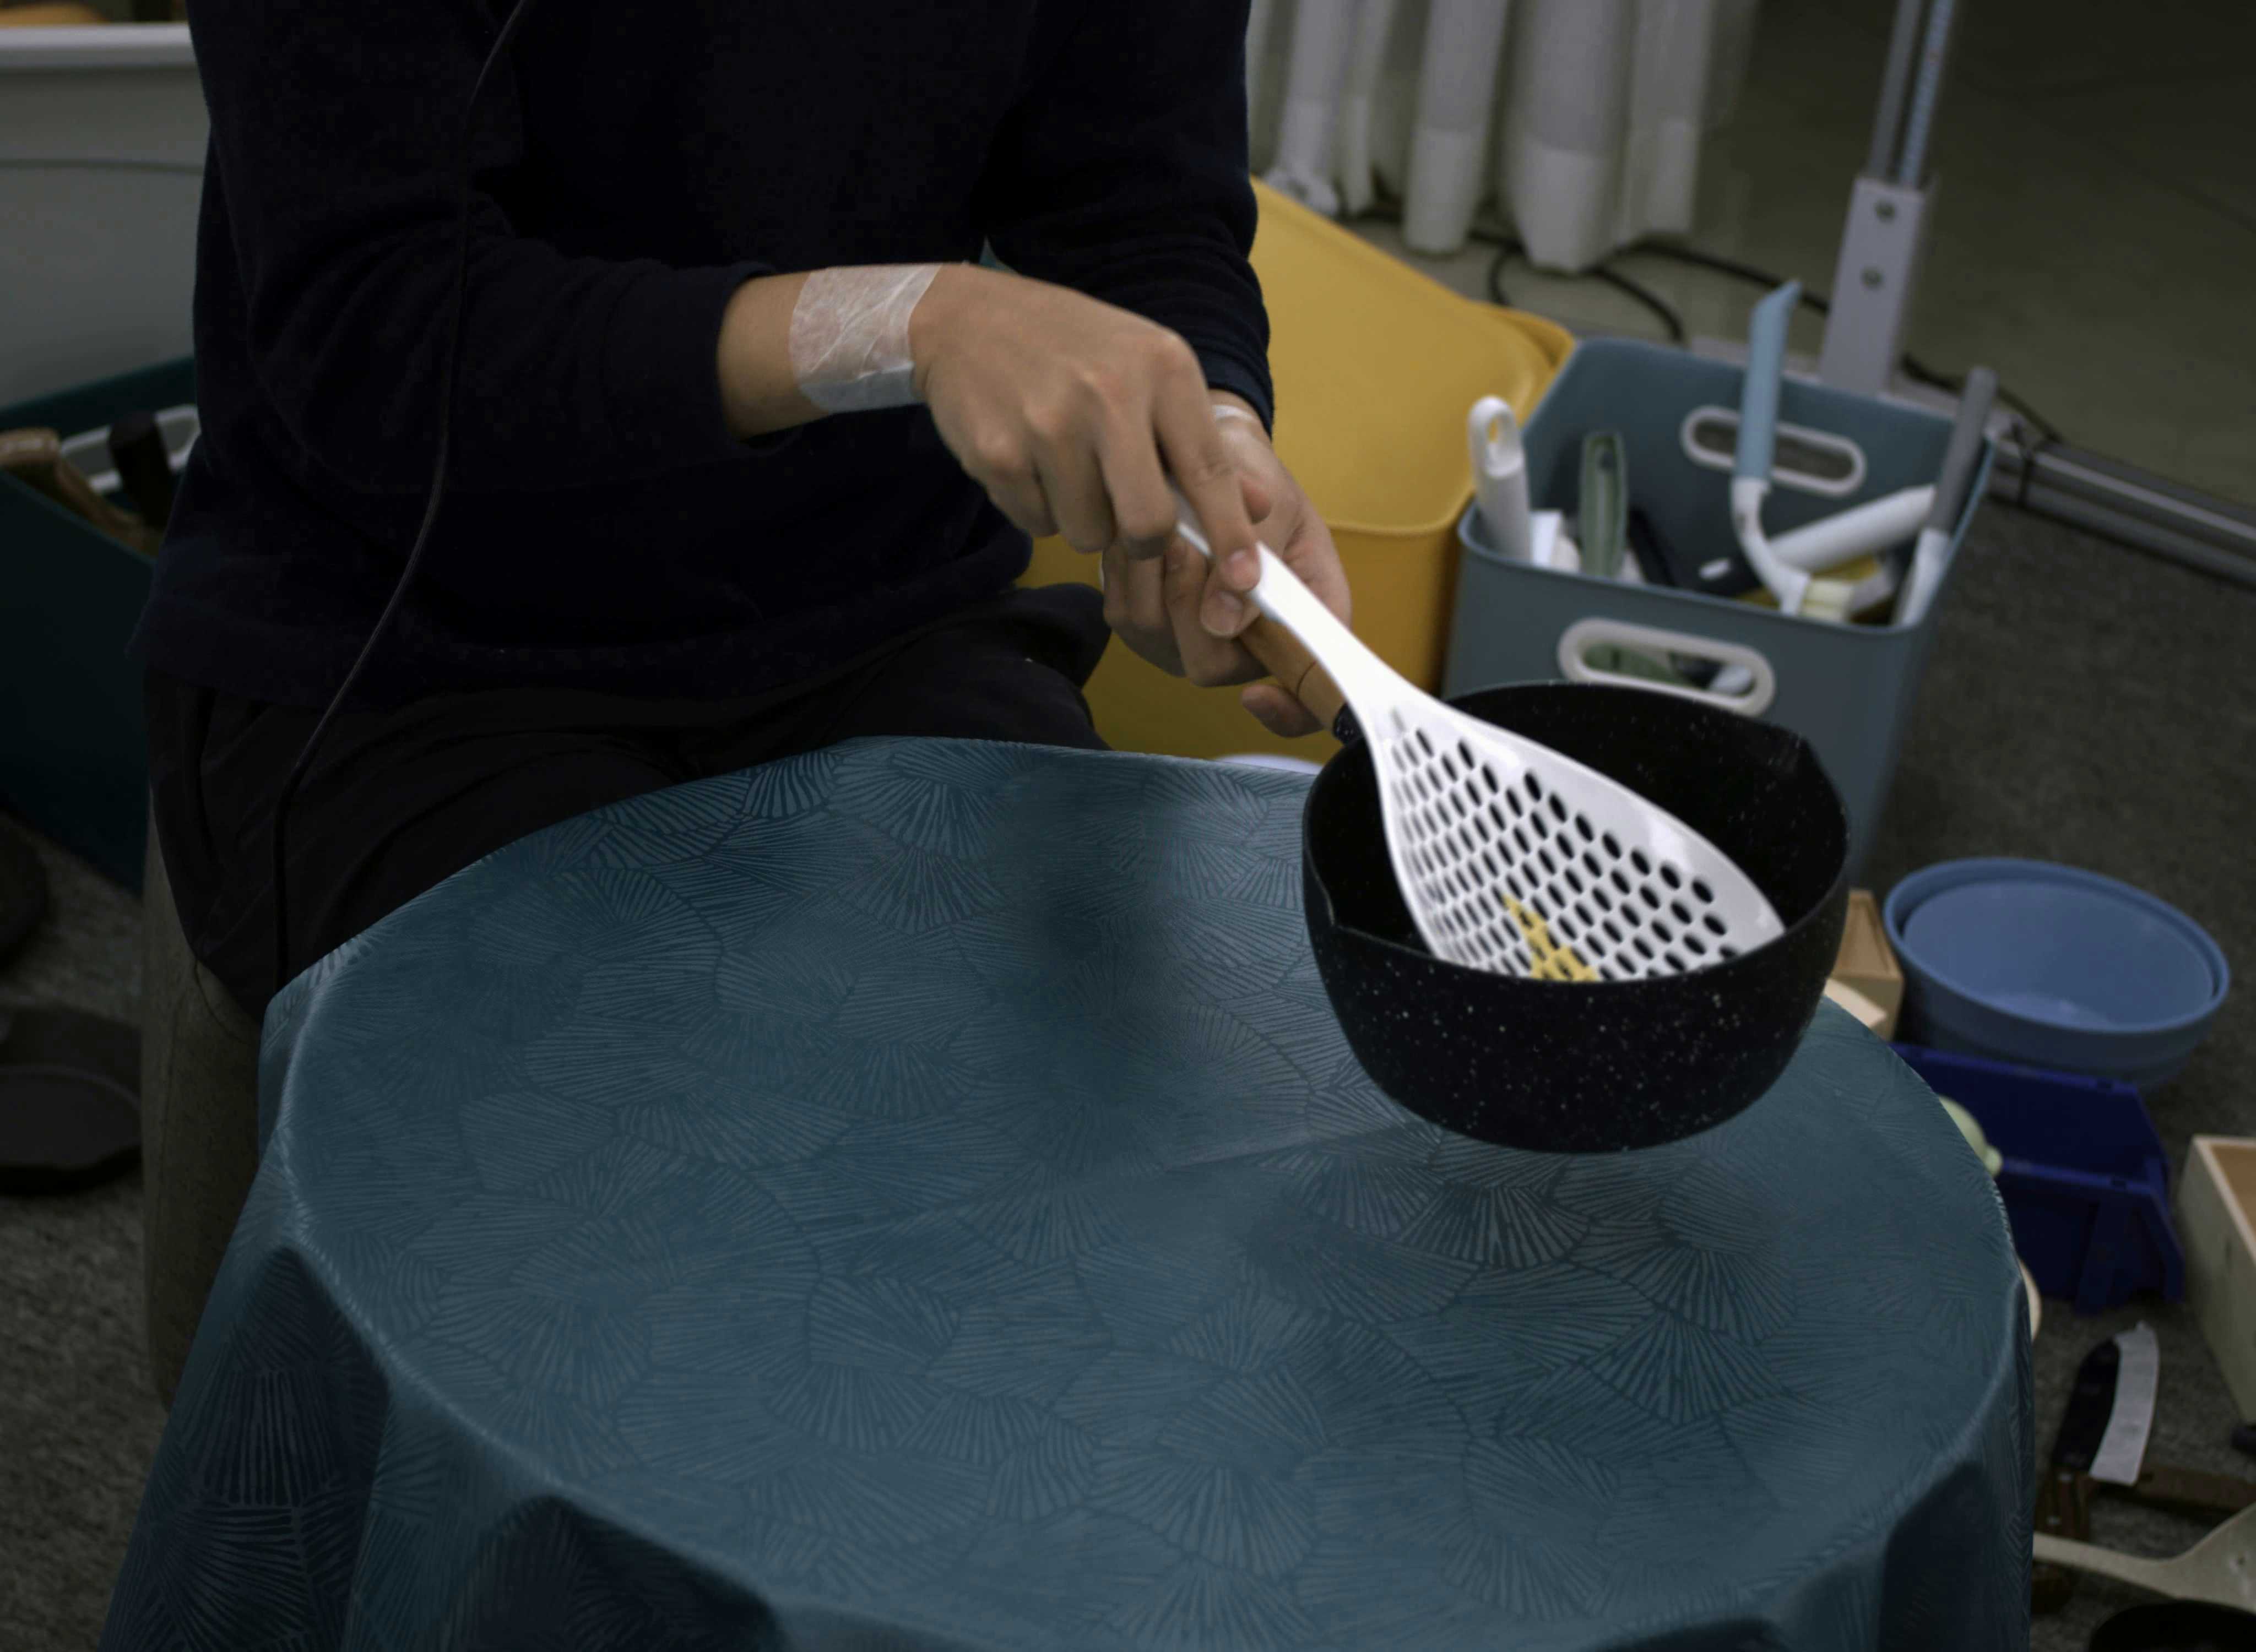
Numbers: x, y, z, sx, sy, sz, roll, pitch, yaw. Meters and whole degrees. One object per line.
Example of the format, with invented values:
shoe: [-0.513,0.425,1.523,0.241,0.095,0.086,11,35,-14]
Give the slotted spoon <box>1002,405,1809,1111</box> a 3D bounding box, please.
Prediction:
slotted spoon: [0.087,-0.033,1.812,0.349,0.050,0.136,48,50,11]

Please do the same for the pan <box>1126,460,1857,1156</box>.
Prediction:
pan: [0.104,-0.011,1.839,0.206,0.107,0.346,-24,40,-28]
